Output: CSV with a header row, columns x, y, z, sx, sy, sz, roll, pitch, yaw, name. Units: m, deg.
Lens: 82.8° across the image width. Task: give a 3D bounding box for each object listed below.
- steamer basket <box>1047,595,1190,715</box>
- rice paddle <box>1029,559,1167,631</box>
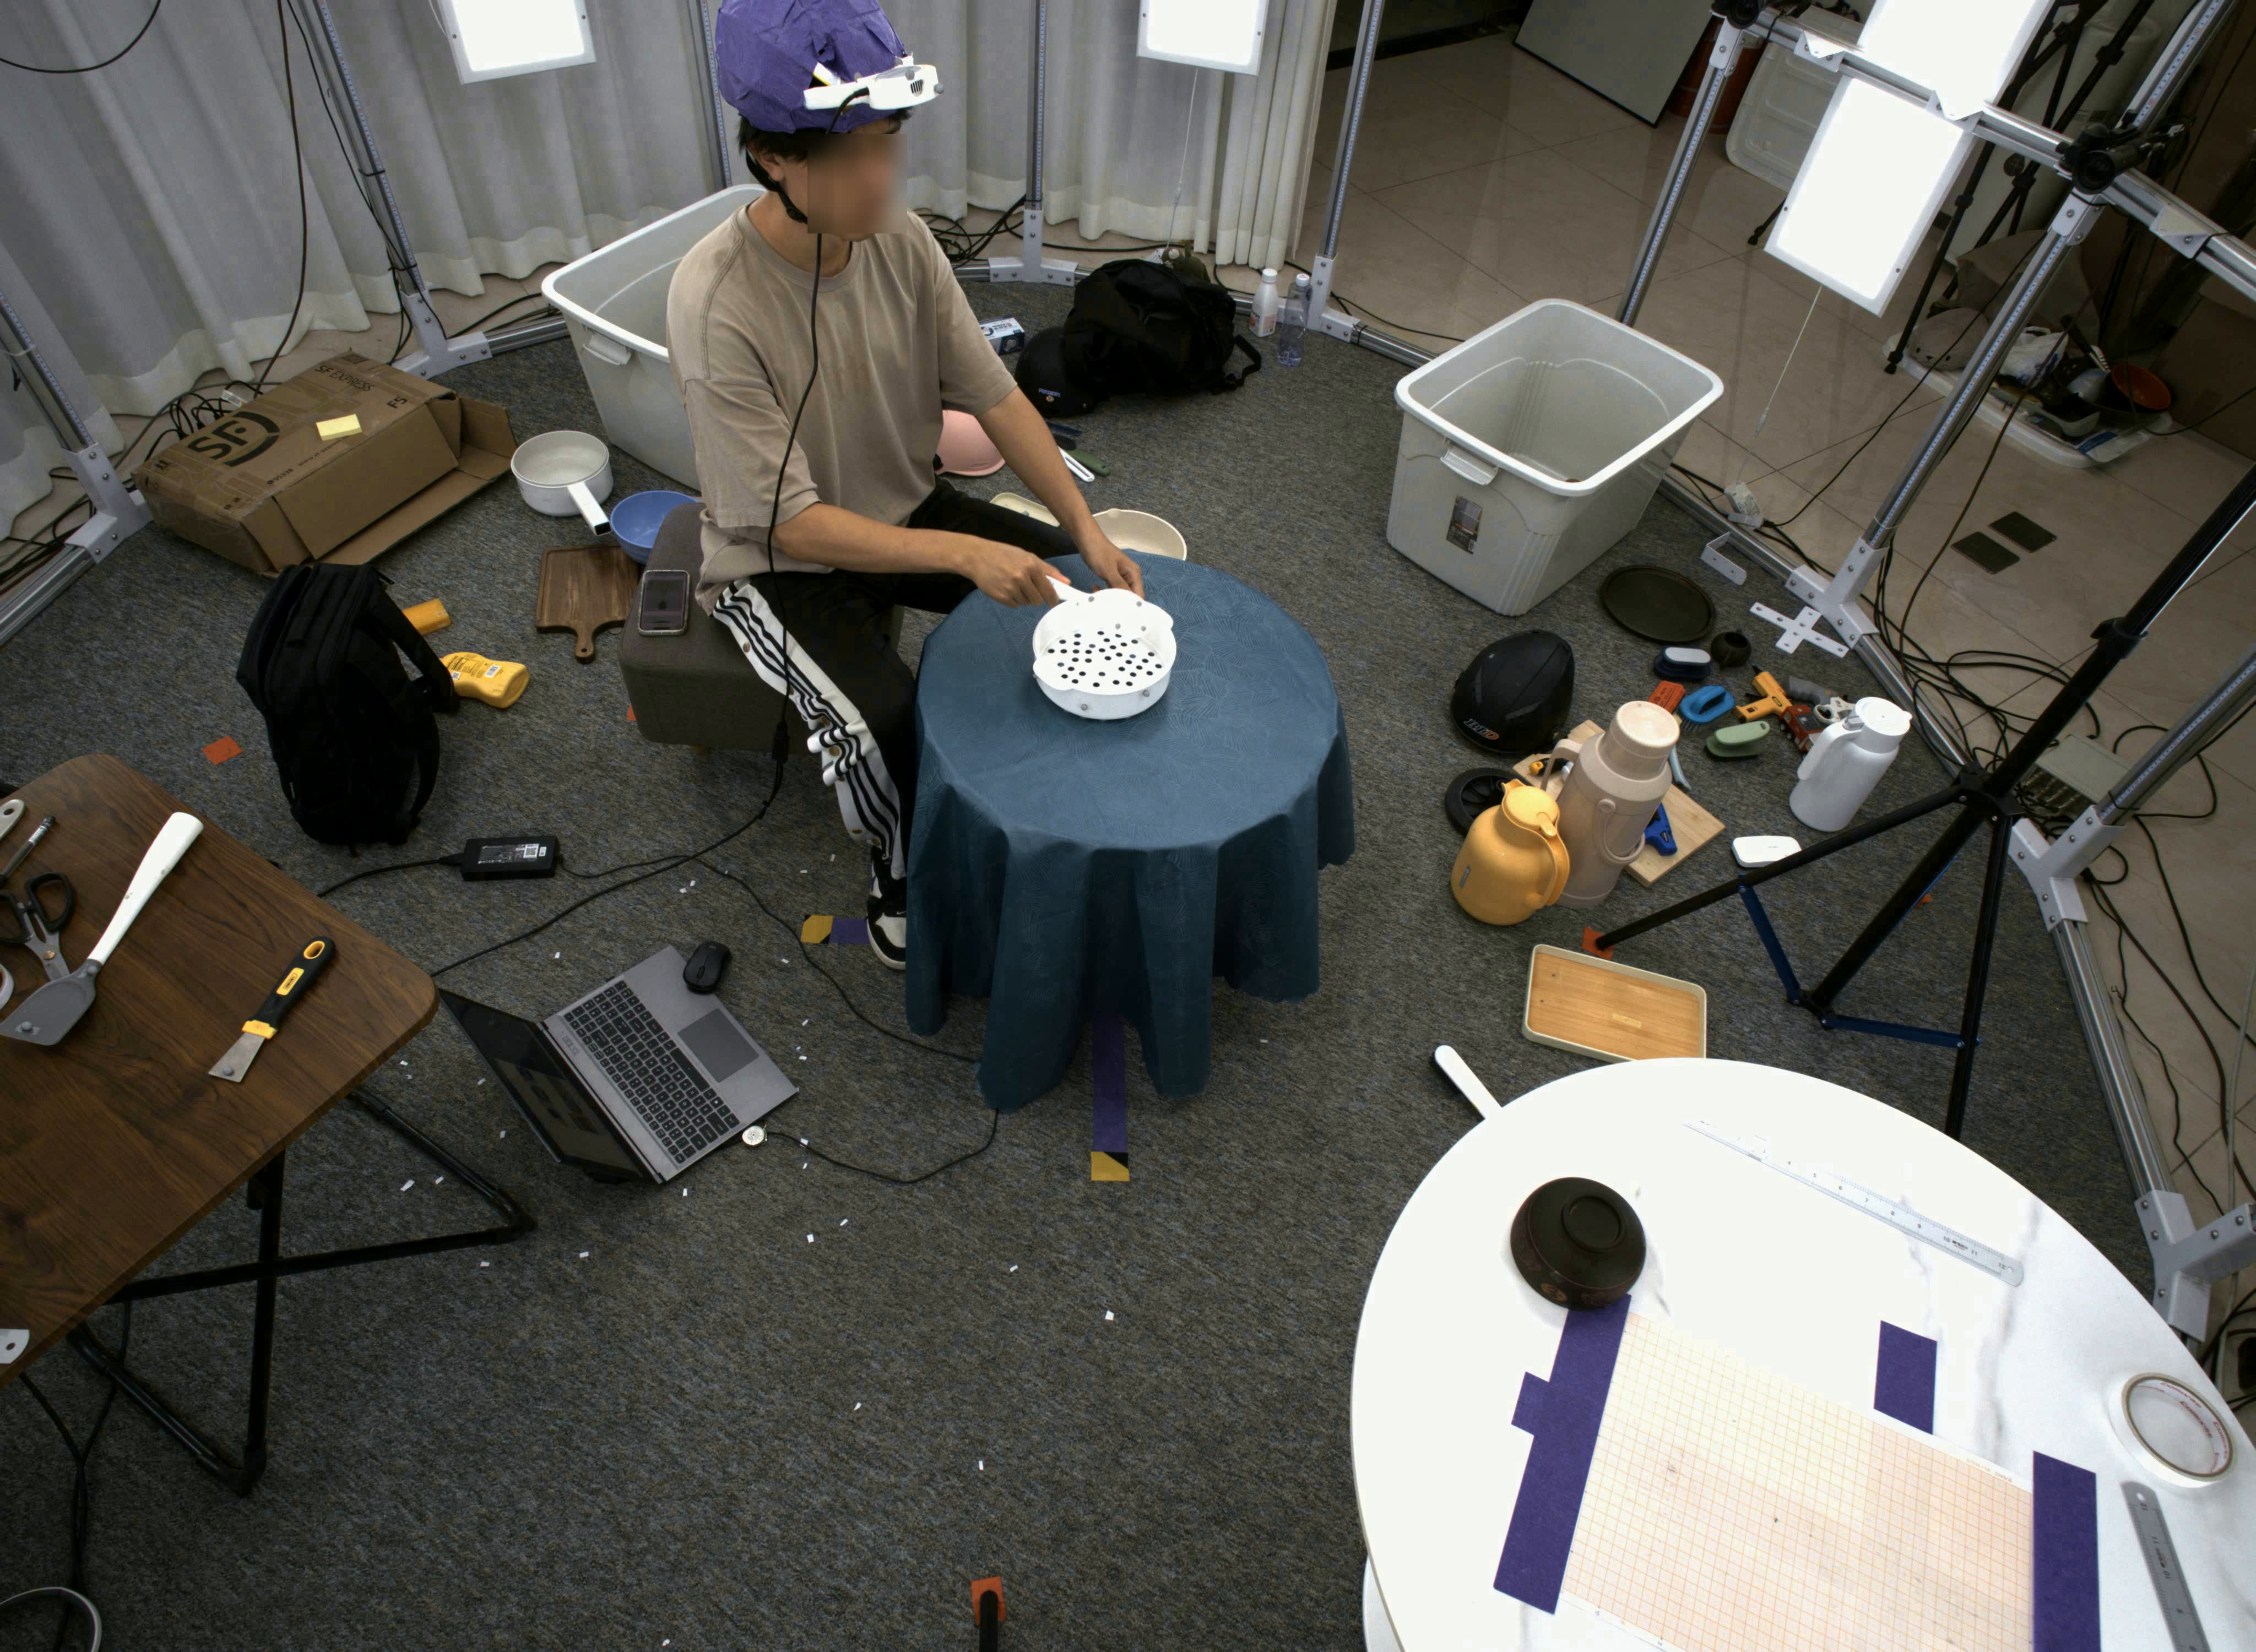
x,y,z,sx,sy,sz,roll,pitch,yaw,name
-0.016,-0.243,1.822,0.232,0.067,0.205,-32,59,-32,steamer basket
-0.036,-0.322,1.773,0.203,0.029,0.070,16,69,-20,rice paddle
